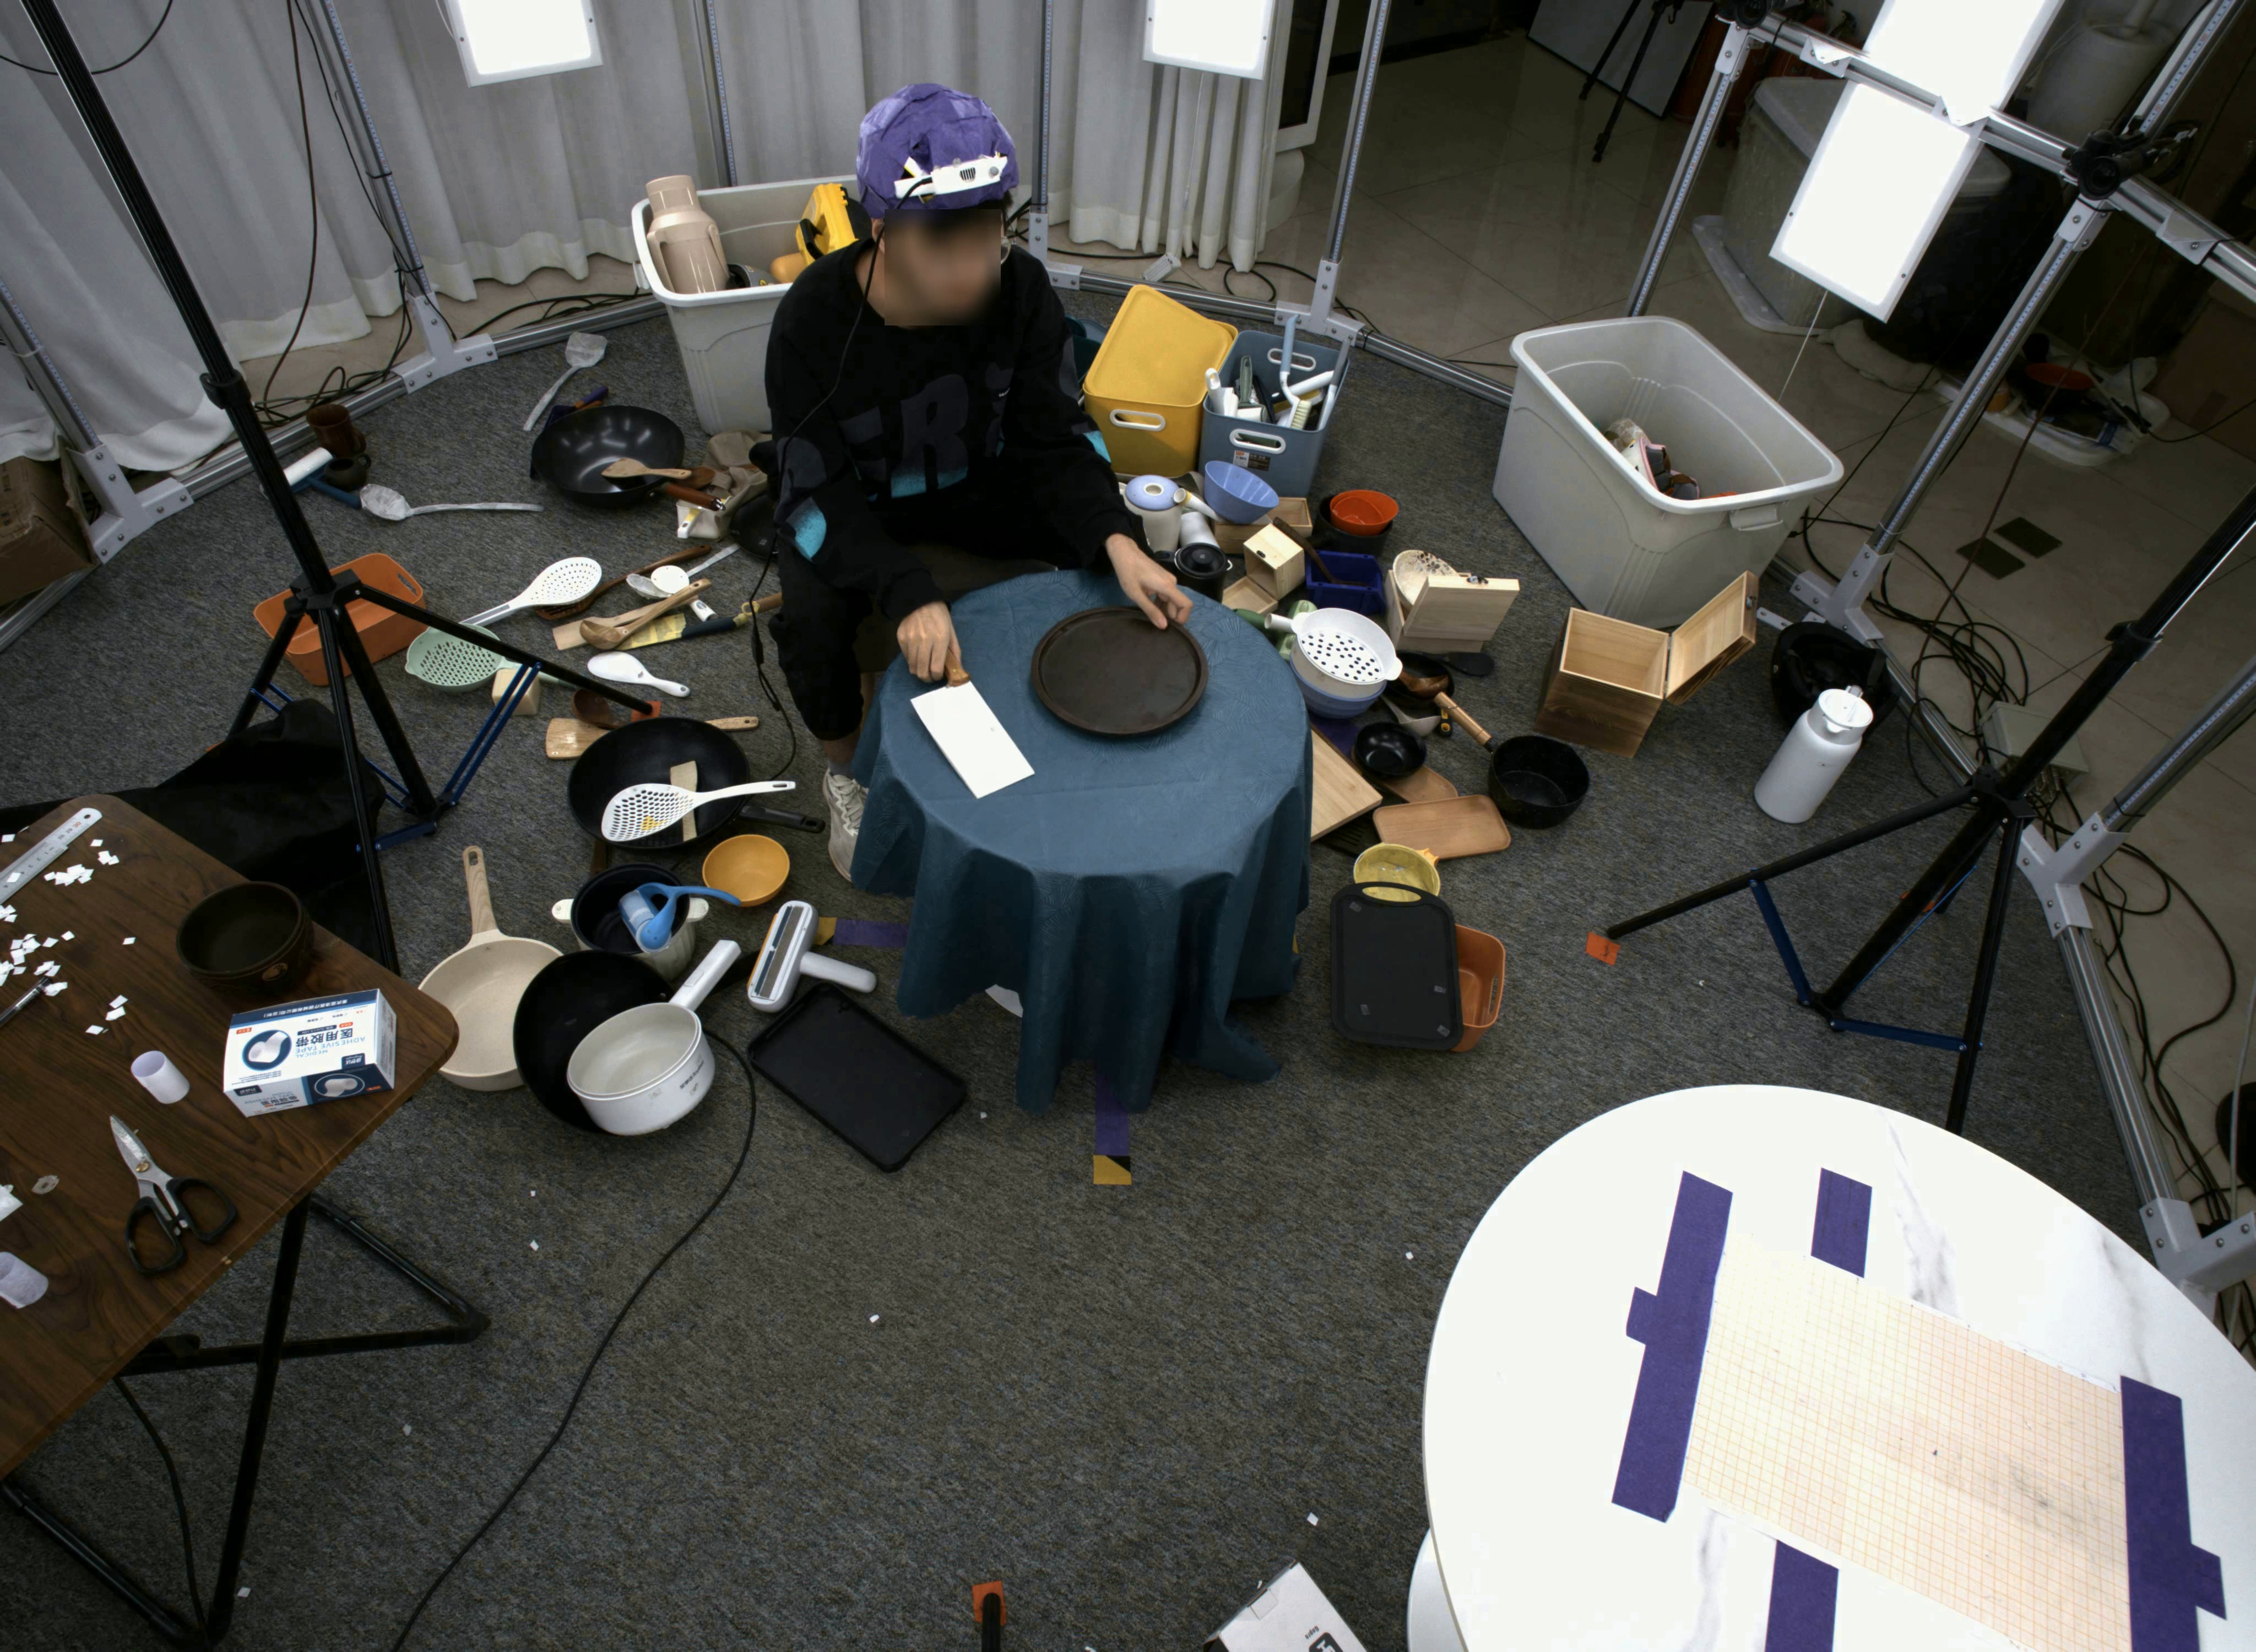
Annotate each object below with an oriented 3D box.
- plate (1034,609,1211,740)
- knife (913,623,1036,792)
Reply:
[{"bbox_3d":[-0.008,-0.219,1.837,0.254,0.028,0.261,0,52,-1],"label":"plate"},{"bbox_3d":[-0.237,-0.165,1.775,0.093,0.020,0.311,-24,60,-21],"label":"knife"}]
